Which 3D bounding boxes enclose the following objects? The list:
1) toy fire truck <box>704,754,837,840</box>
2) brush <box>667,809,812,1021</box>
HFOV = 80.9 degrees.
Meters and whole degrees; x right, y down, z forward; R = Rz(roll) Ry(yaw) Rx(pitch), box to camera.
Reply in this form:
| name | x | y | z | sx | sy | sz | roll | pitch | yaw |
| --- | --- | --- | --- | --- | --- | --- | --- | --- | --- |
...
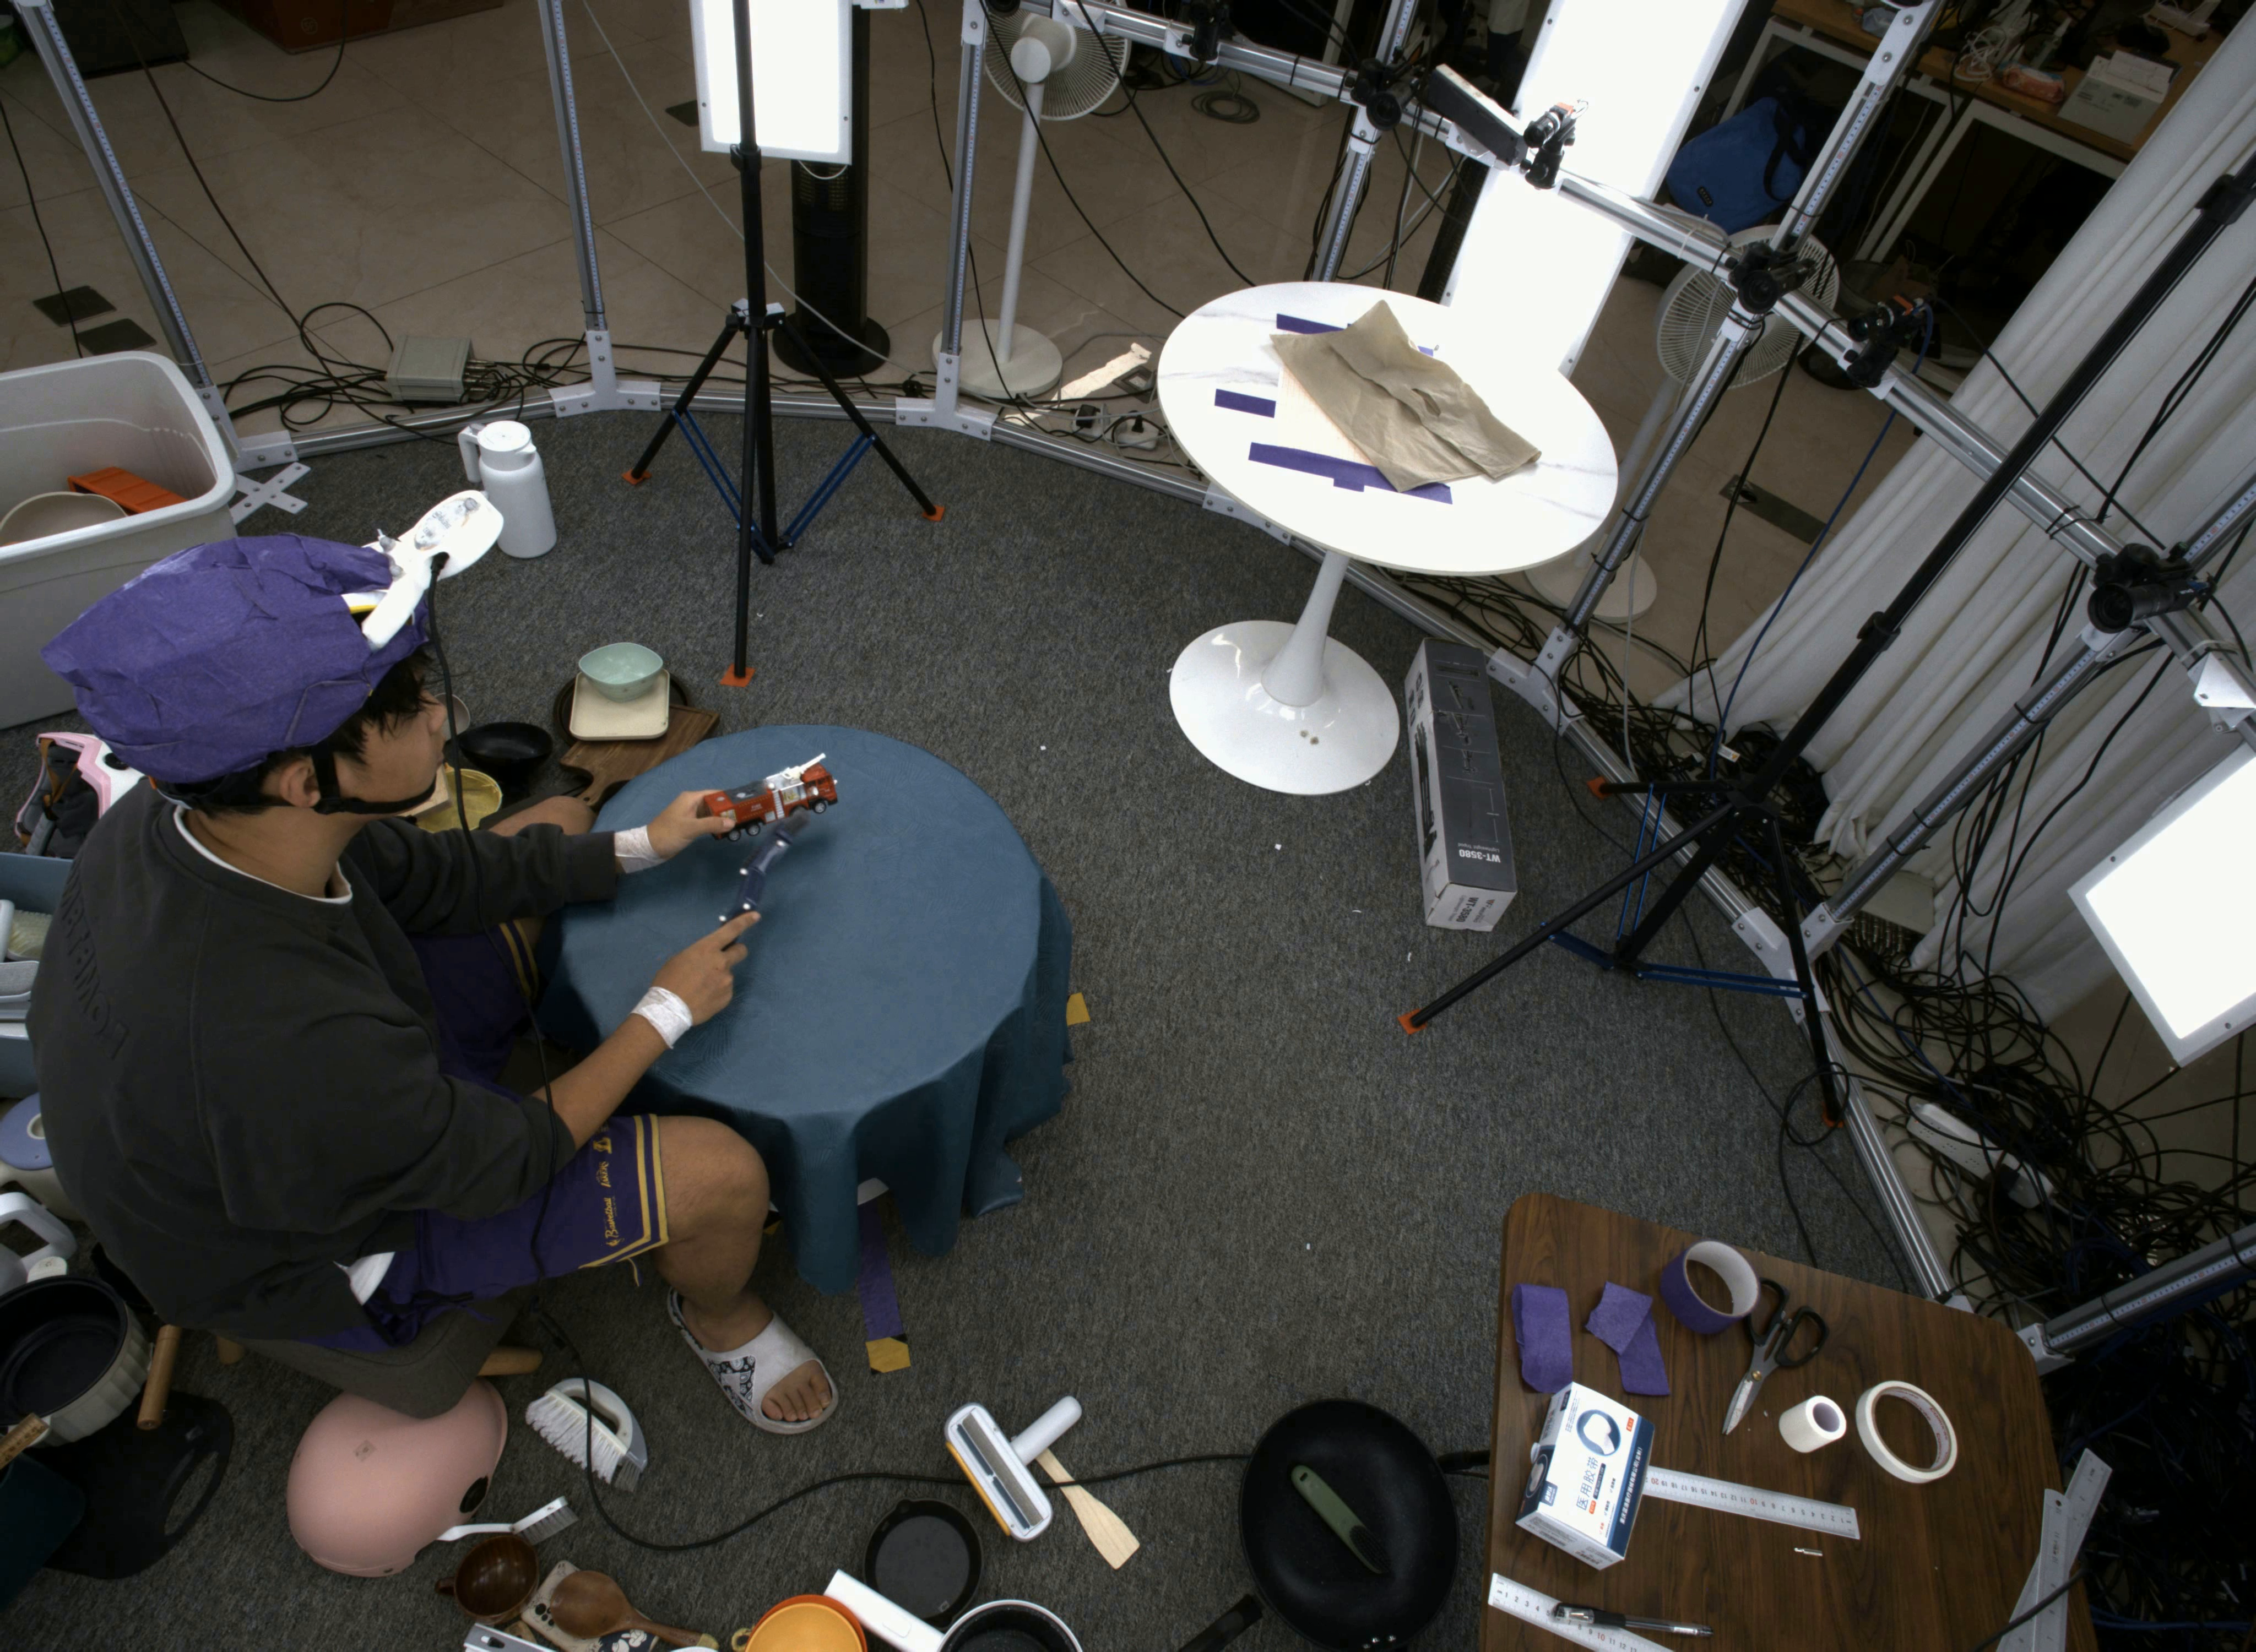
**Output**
| name | x | y | z | sx | sy | sz | roll | pitch | yaw |
| --- | --- | --- | --- | --- | --- | --- | --- | --- | --- |
| toy fire truck | -0.454 | -0.035 | 1.642 | 0.169 | 0.073 | 0.052 | -21 | 35 | -27 |
| brush | -0.463 | 0.099 | 1.538 | 0.035 | 0.093 | 0.271 | 43 | 53 | -38 |
